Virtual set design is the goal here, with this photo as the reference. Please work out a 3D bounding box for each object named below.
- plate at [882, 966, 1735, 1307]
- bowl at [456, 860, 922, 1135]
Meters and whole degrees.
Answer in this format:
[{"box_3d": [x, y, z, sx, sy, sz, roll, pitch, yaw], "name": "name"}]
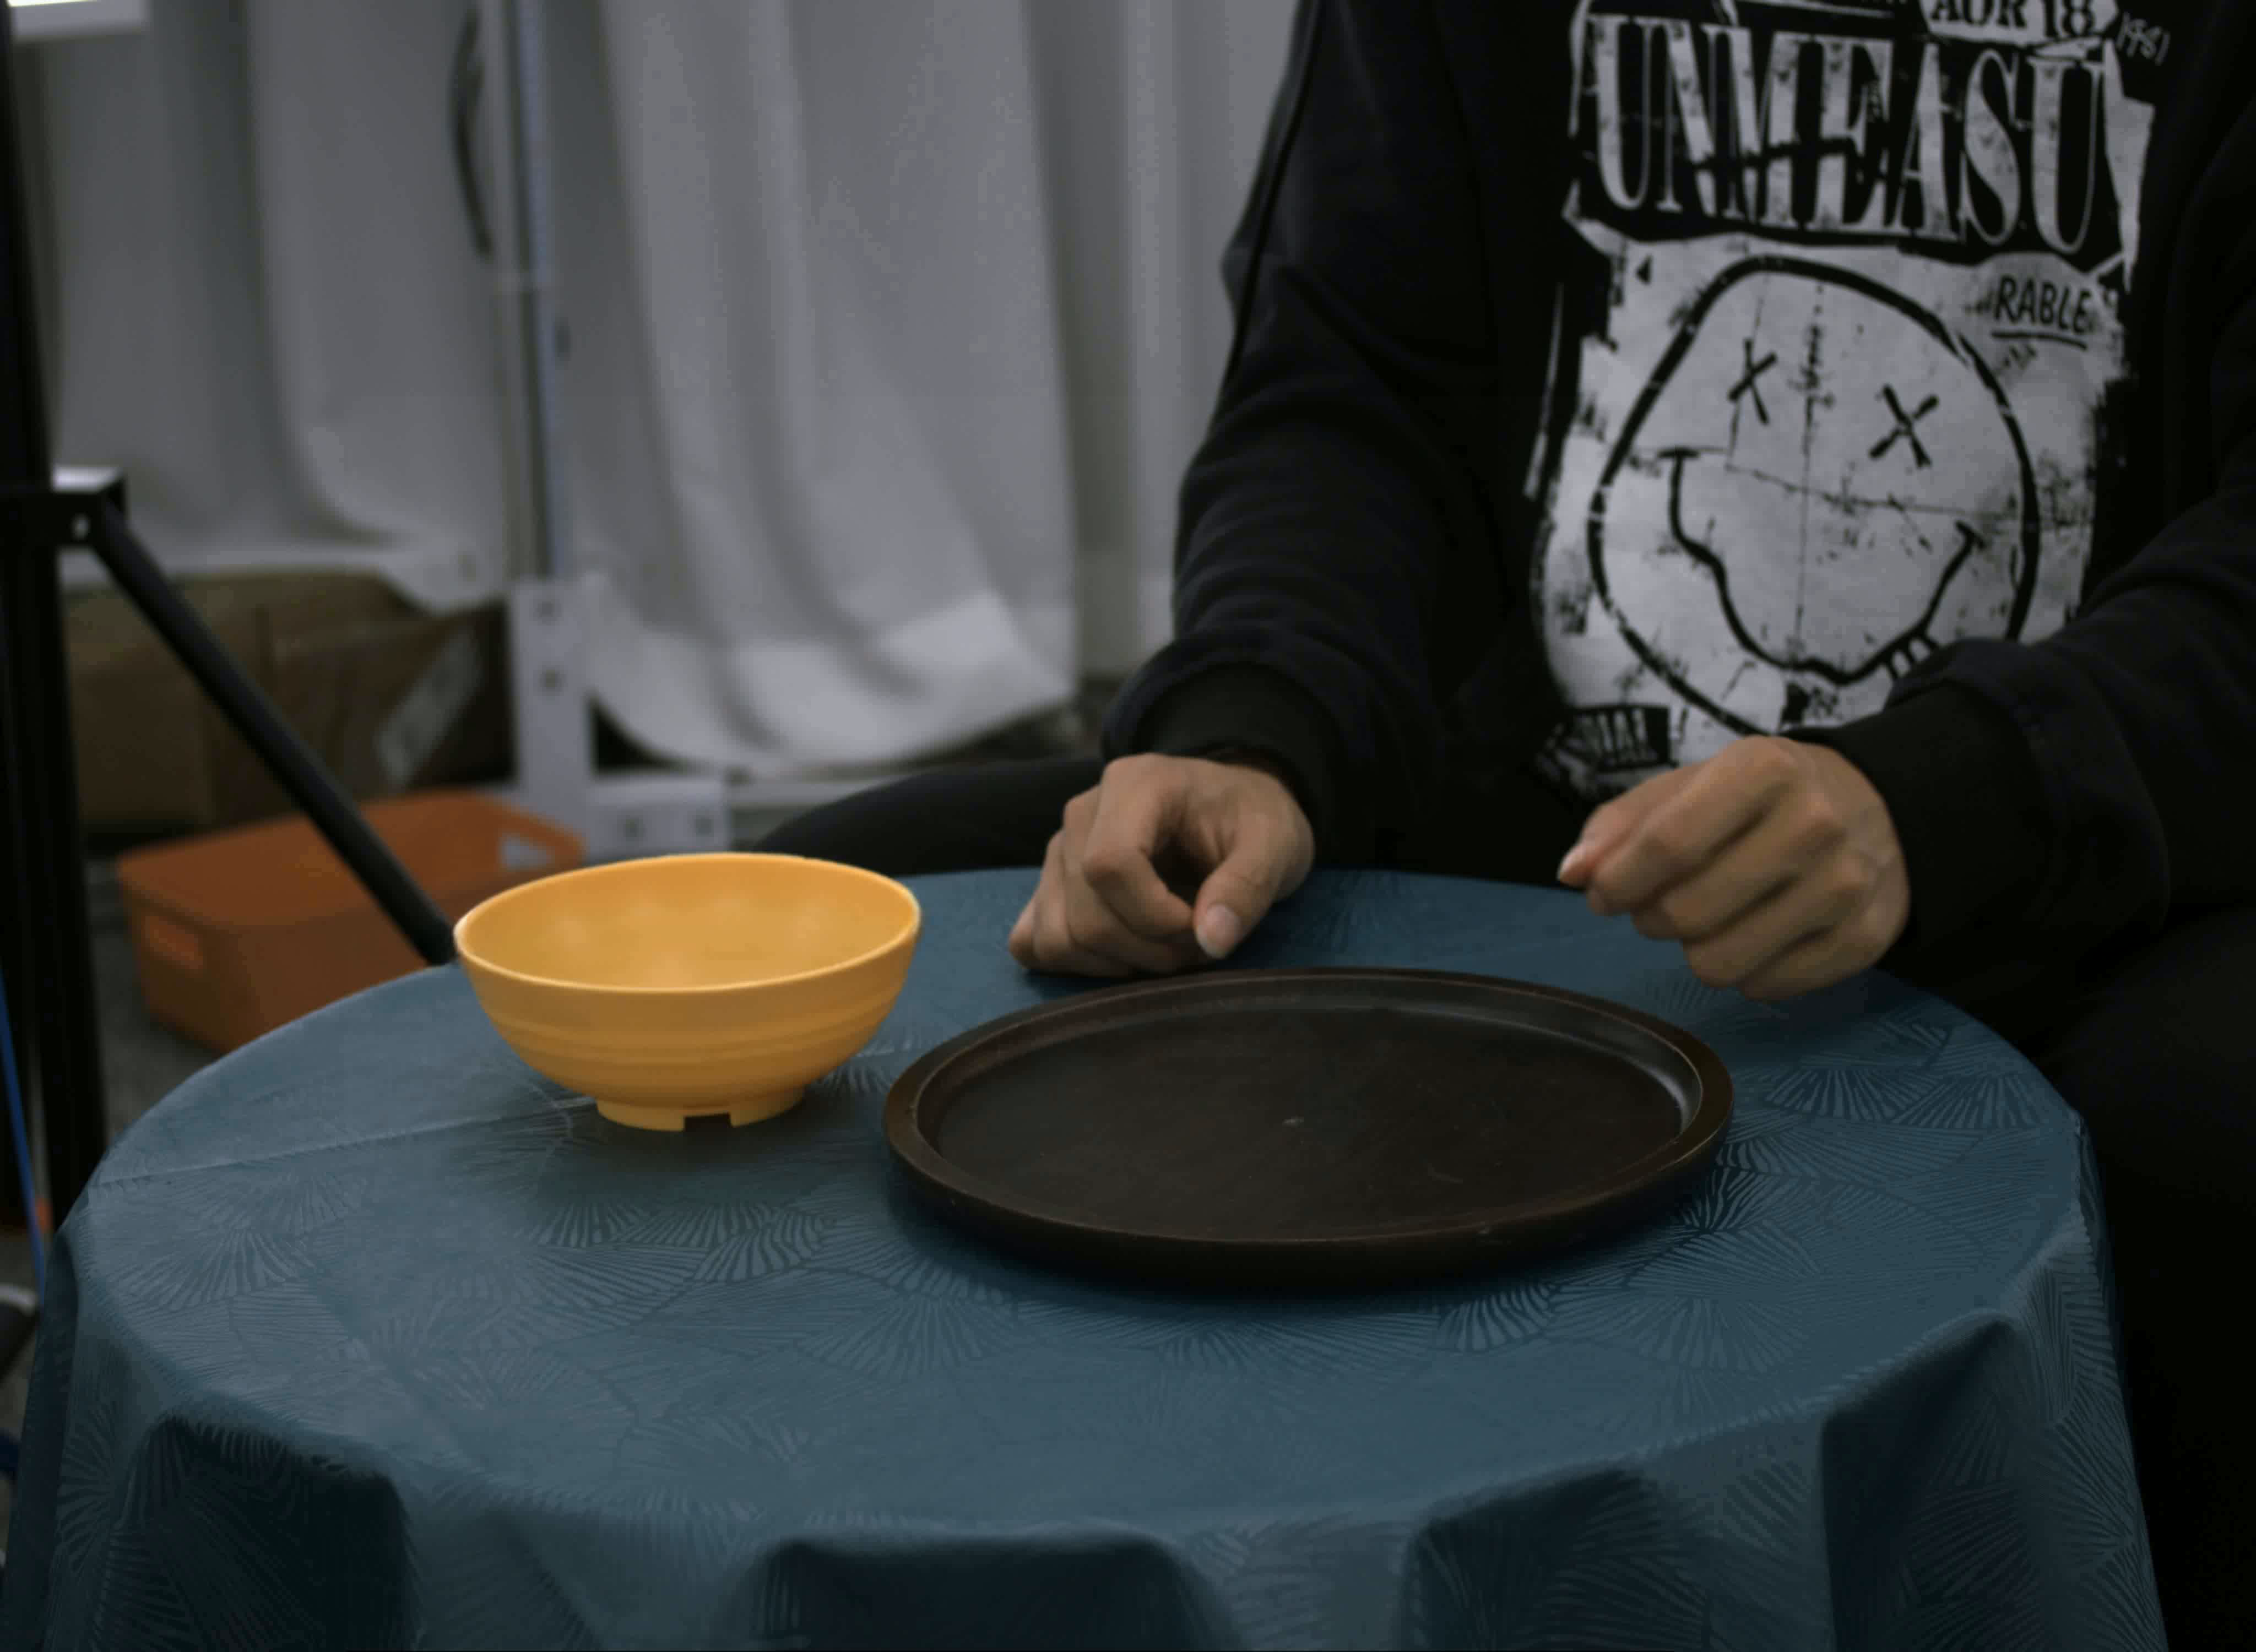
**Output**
[{"box_3d": [0.054, 0.090, 1.575, 0.253, 0.029, 0.256, -5, 15, 0], "name": "plate"}, {"box_3d": [-0.136, 0.058, 1.656, 0.144, 0.060, 0.146, -1, 15, -1], "name": "bowl"}]
